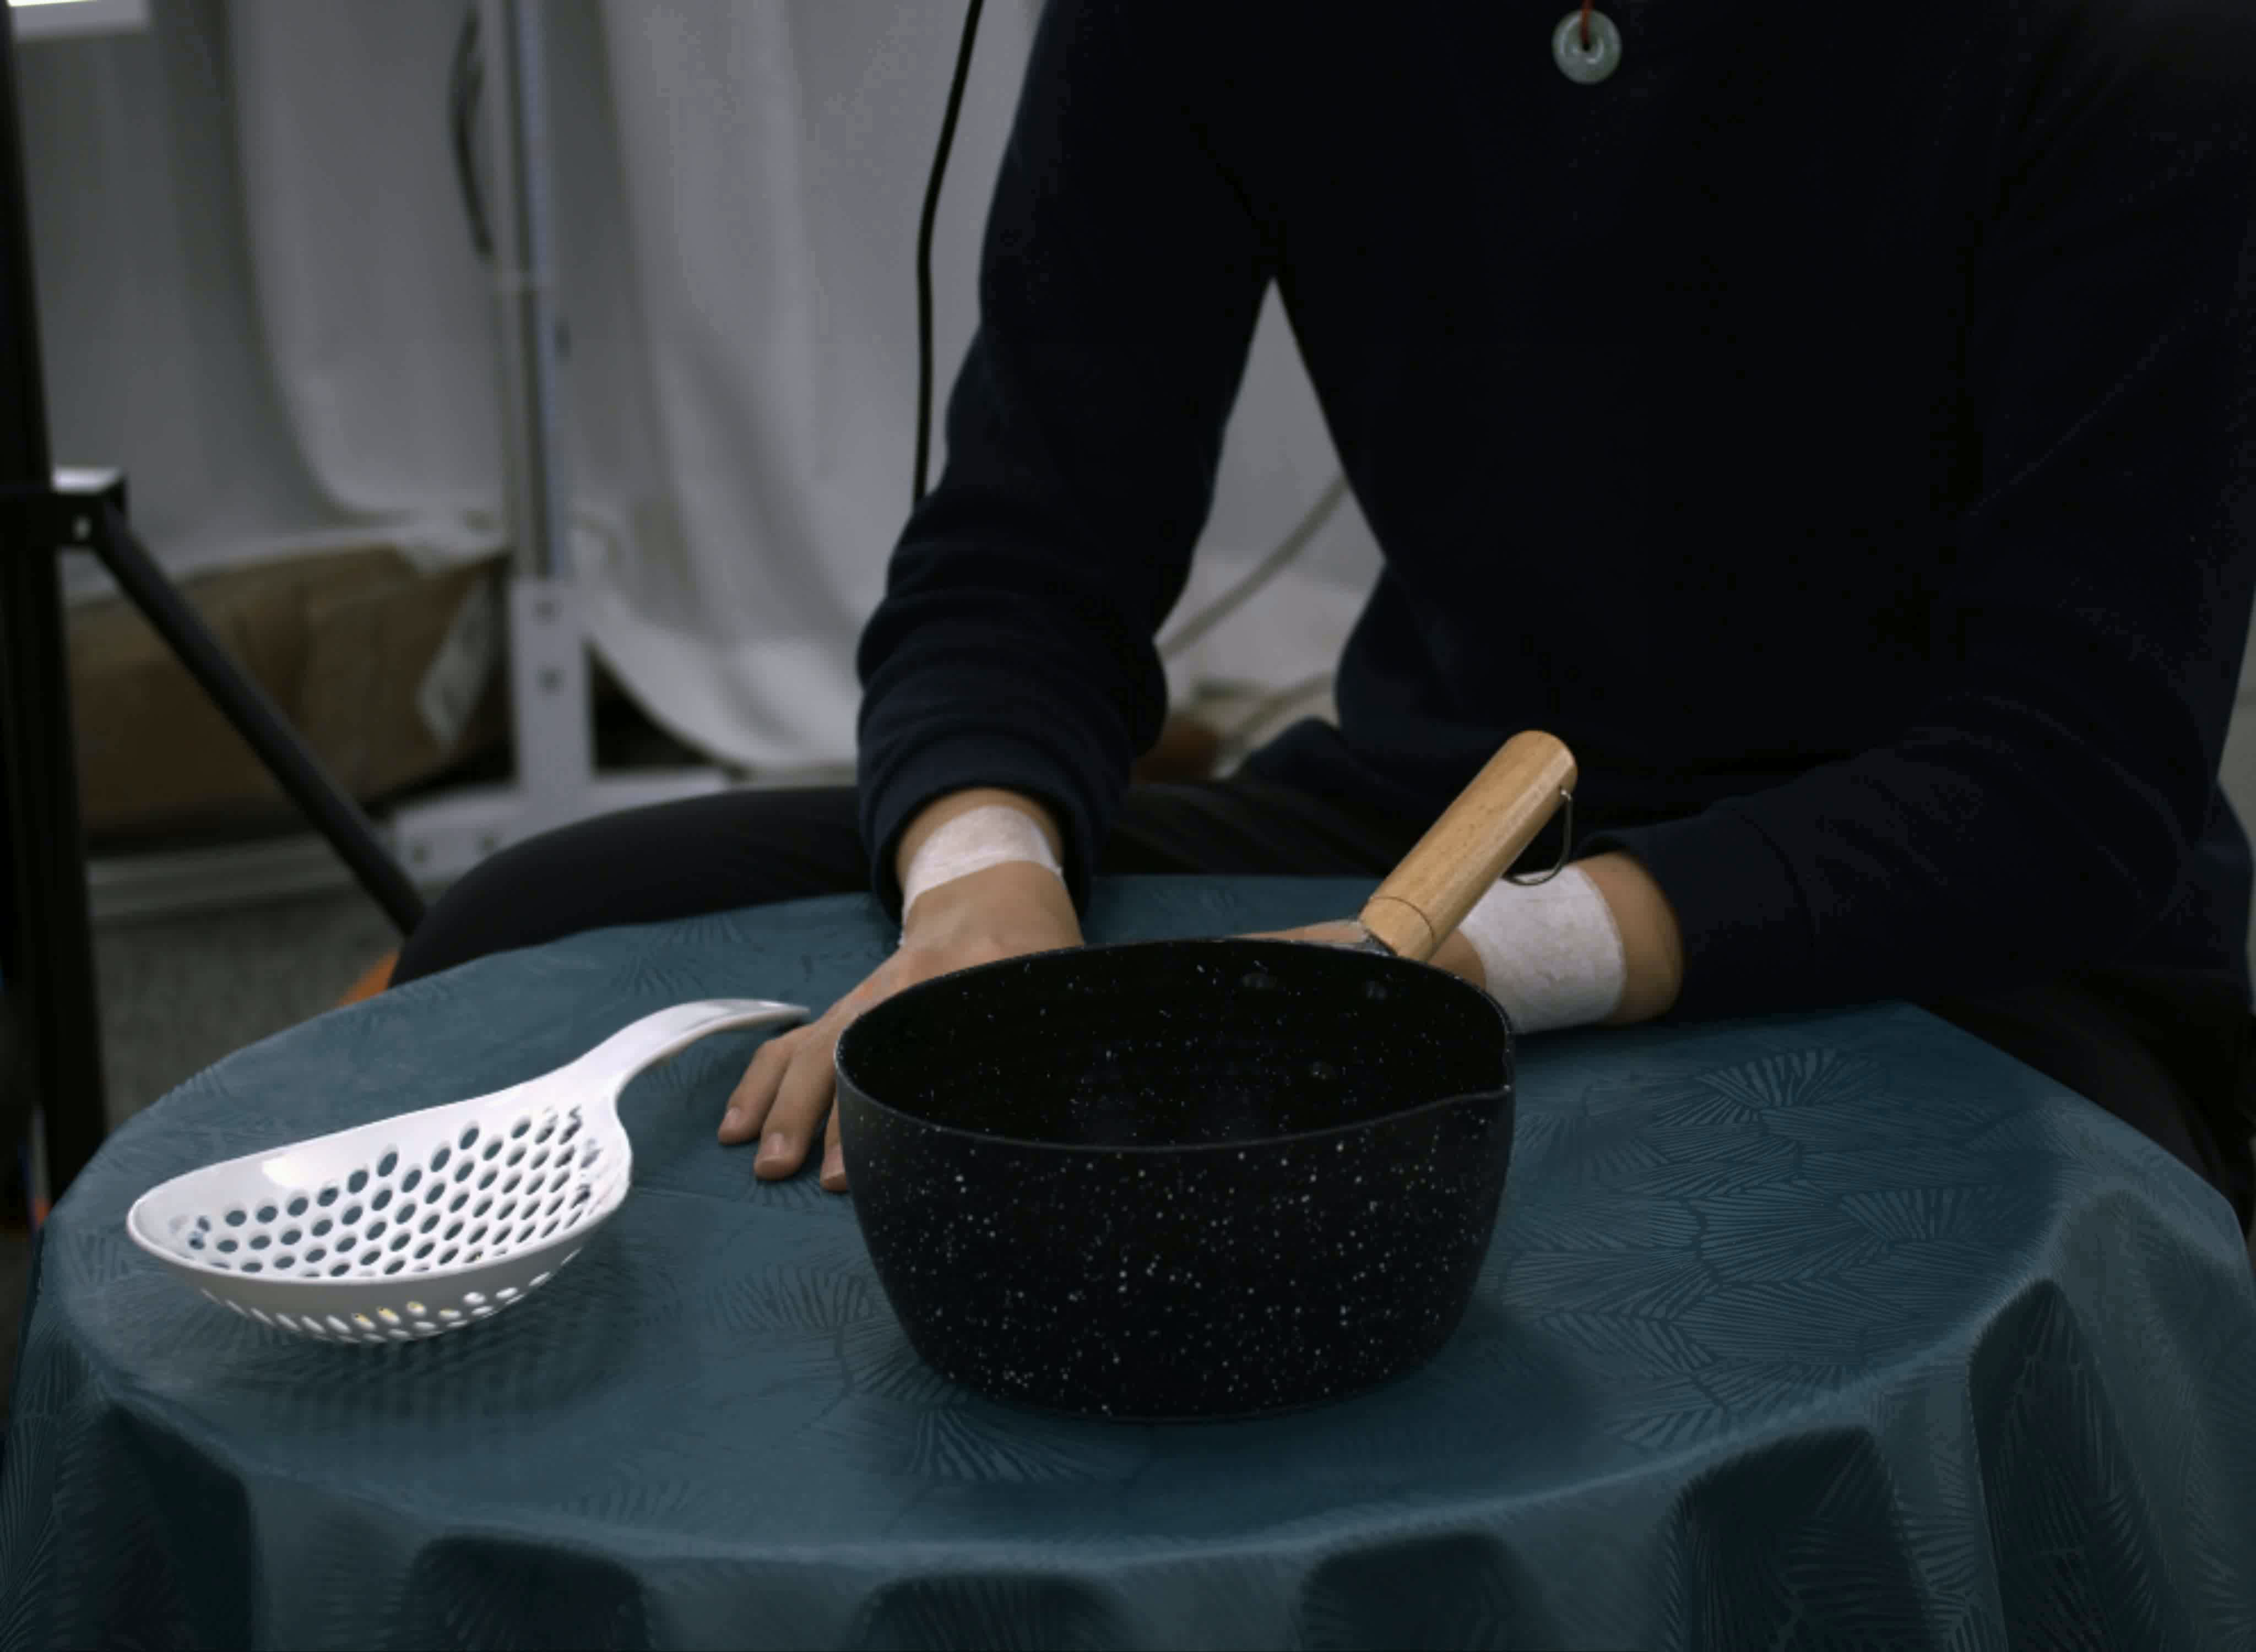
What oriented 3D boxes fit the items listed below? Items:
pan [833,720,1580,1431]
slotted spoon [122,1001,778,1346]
[{"bbox_3d":[0.050,0.065,1.503,0.211,0.108,0.337,4,18,28],"label":"pan"},{"bbox_3d":[-0.169,0.089,1.575,0.138,0.050,0.344,2,18,20],"label":"slotted spoon"}]
